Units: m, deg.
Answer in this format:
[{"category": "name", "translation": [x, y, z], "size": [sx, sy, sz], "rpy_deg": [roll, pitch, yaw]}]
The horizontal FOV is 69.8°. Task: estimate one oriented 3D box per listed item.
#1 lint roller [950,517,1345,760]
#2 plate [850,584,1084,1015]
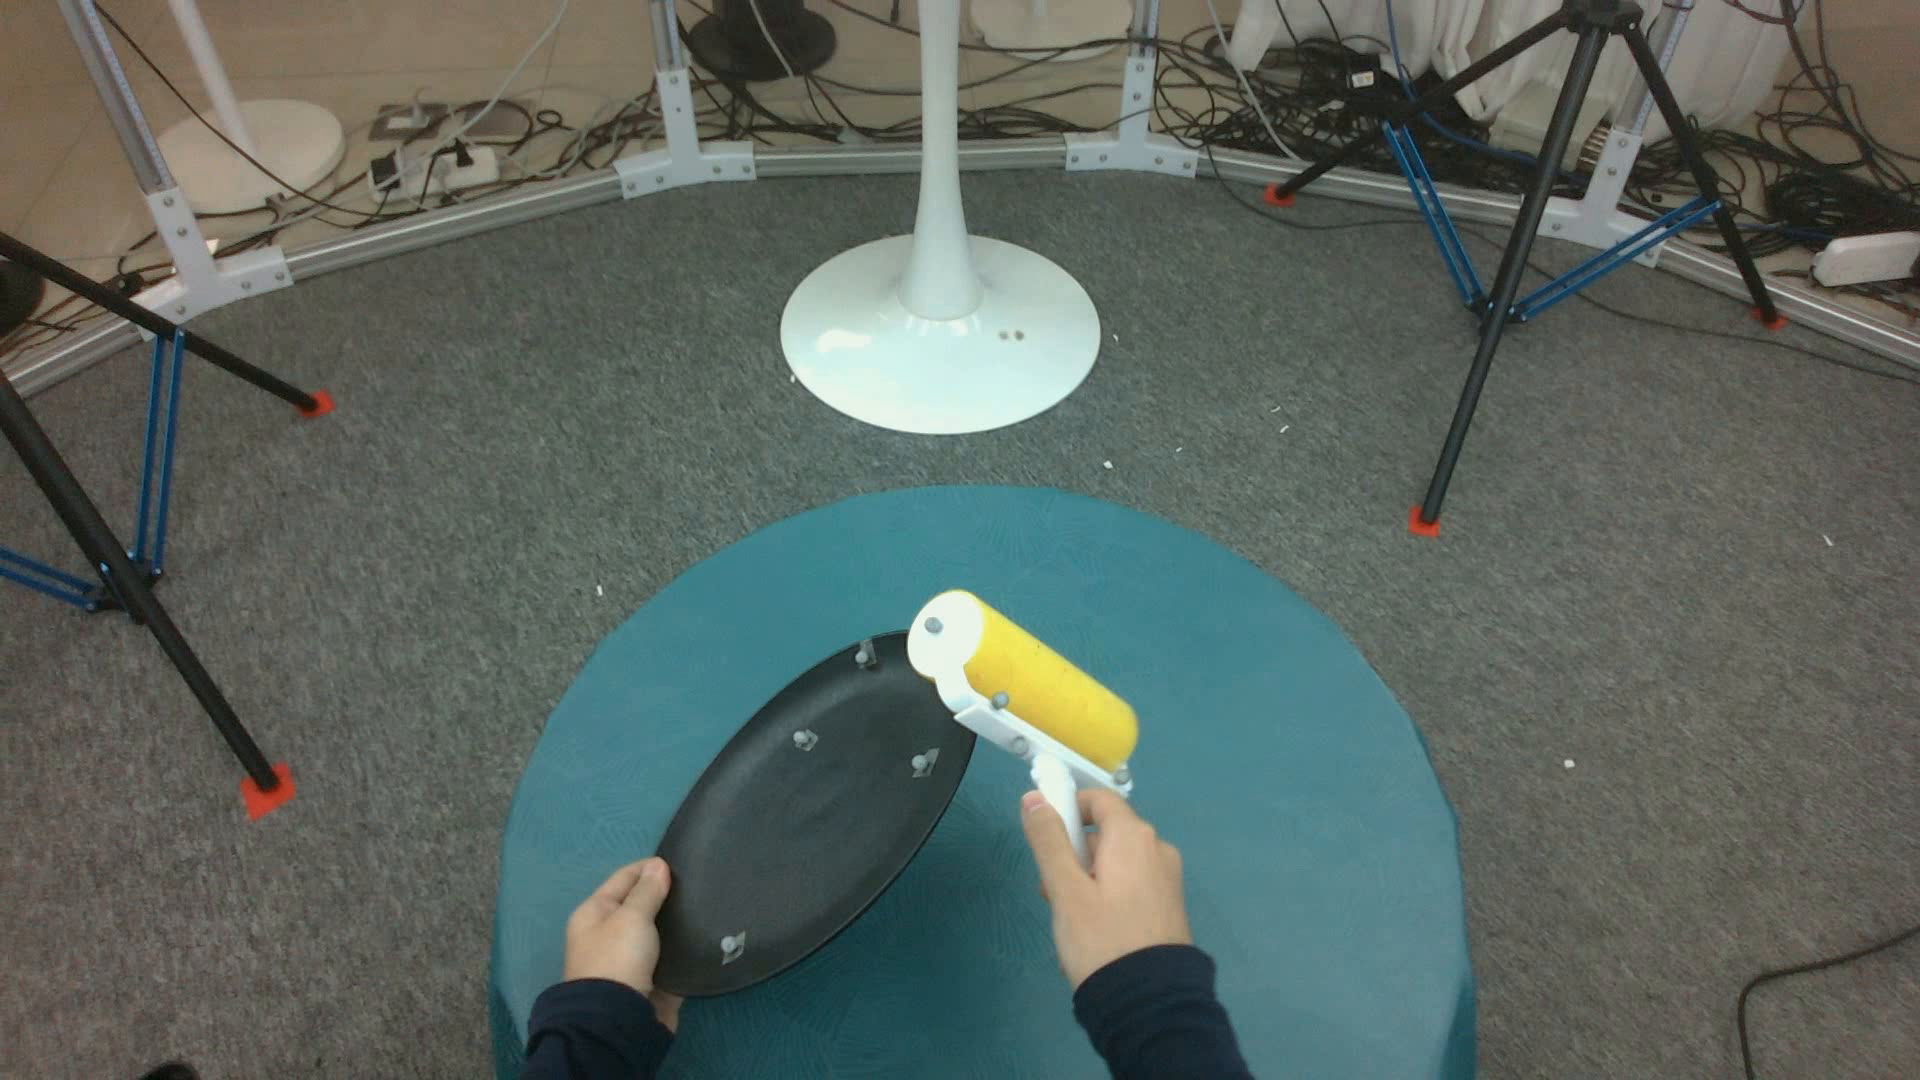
[{"category": "lint roller", "translation": [0.115, 0.043, 0.693], "size": [0.192, 0.175, 0.051], "rpy_deg": [29, 110, 37]}, {"category": "plate", "translation": [0.004, 0.139, 0.775], "size": [0.243, 0.023, 0.245], "rpy_deg": [-35, 47, 50]}]
